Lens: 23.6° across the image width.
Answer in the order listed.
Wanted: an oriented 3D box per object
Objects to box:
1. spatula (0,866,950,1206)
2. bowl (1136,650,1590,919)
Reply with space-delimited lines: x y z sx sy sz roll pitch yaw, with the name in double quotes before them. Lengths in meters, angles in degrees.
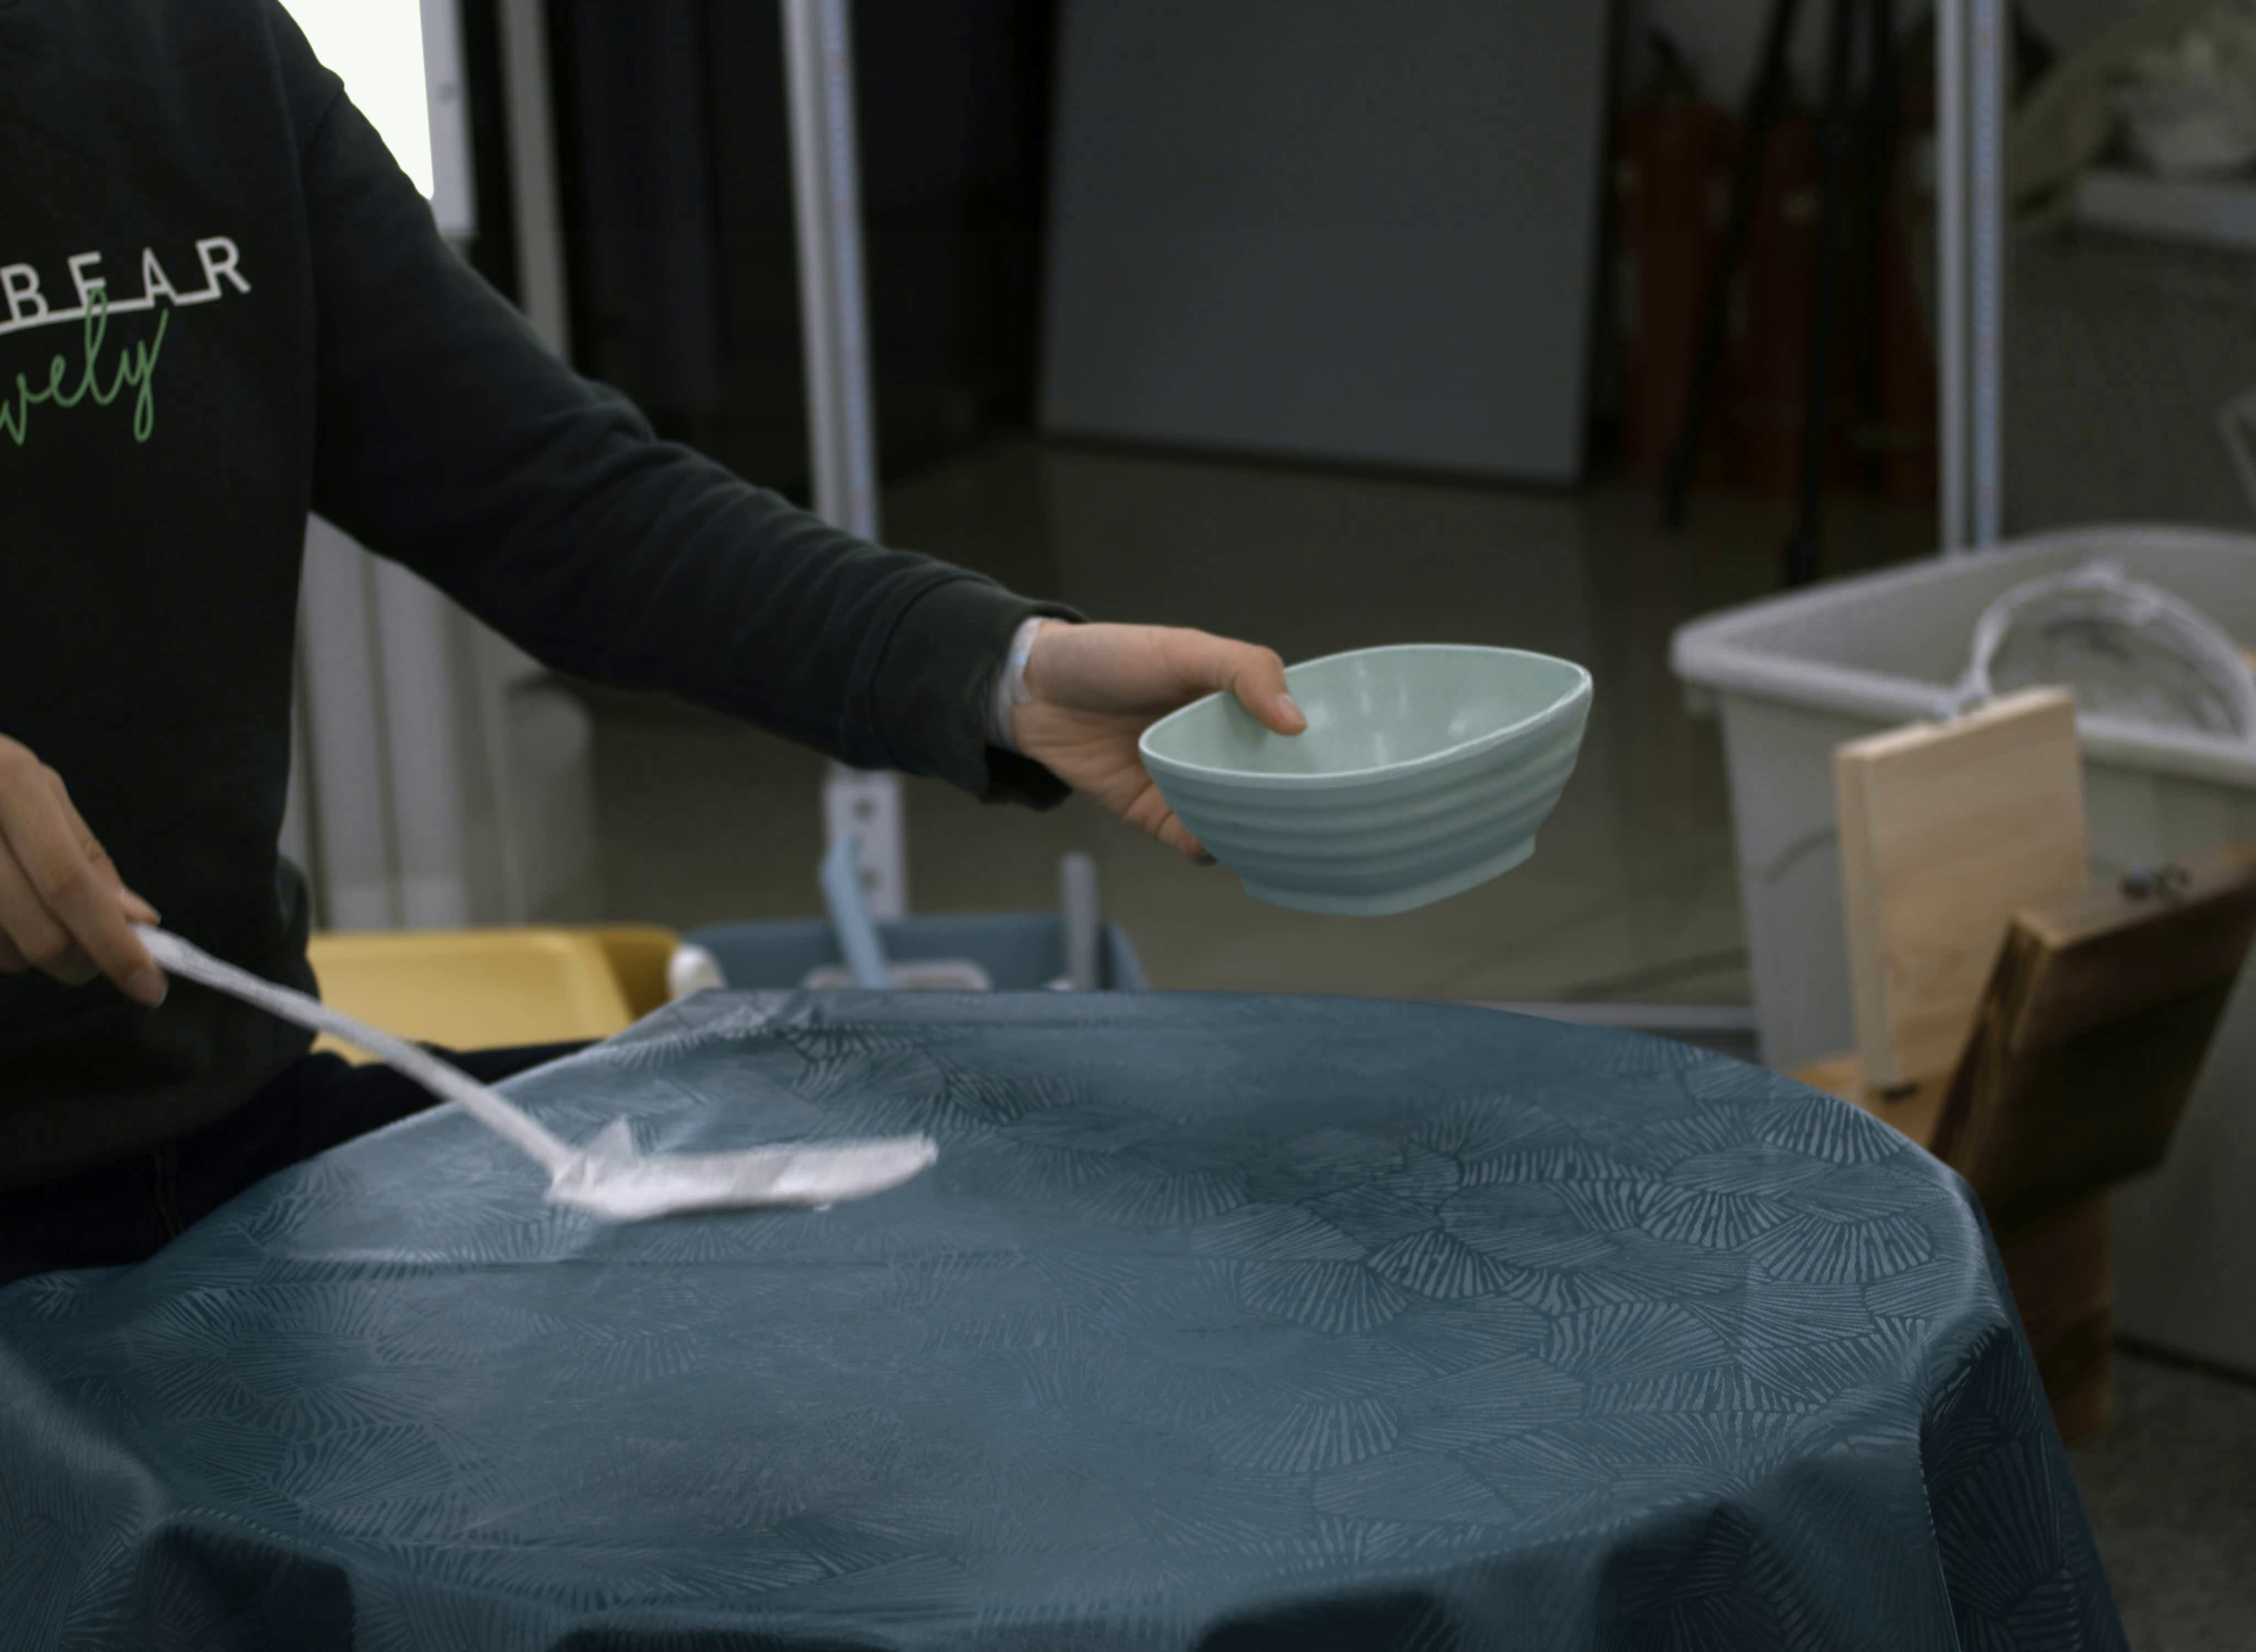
"spatula" -0.220 0.049 1.548 0.366 0.045 0.097 21 17 23
"bowl" 0.080 -0.011 1.766 0.149 0.059 0.152 -9 14 1
